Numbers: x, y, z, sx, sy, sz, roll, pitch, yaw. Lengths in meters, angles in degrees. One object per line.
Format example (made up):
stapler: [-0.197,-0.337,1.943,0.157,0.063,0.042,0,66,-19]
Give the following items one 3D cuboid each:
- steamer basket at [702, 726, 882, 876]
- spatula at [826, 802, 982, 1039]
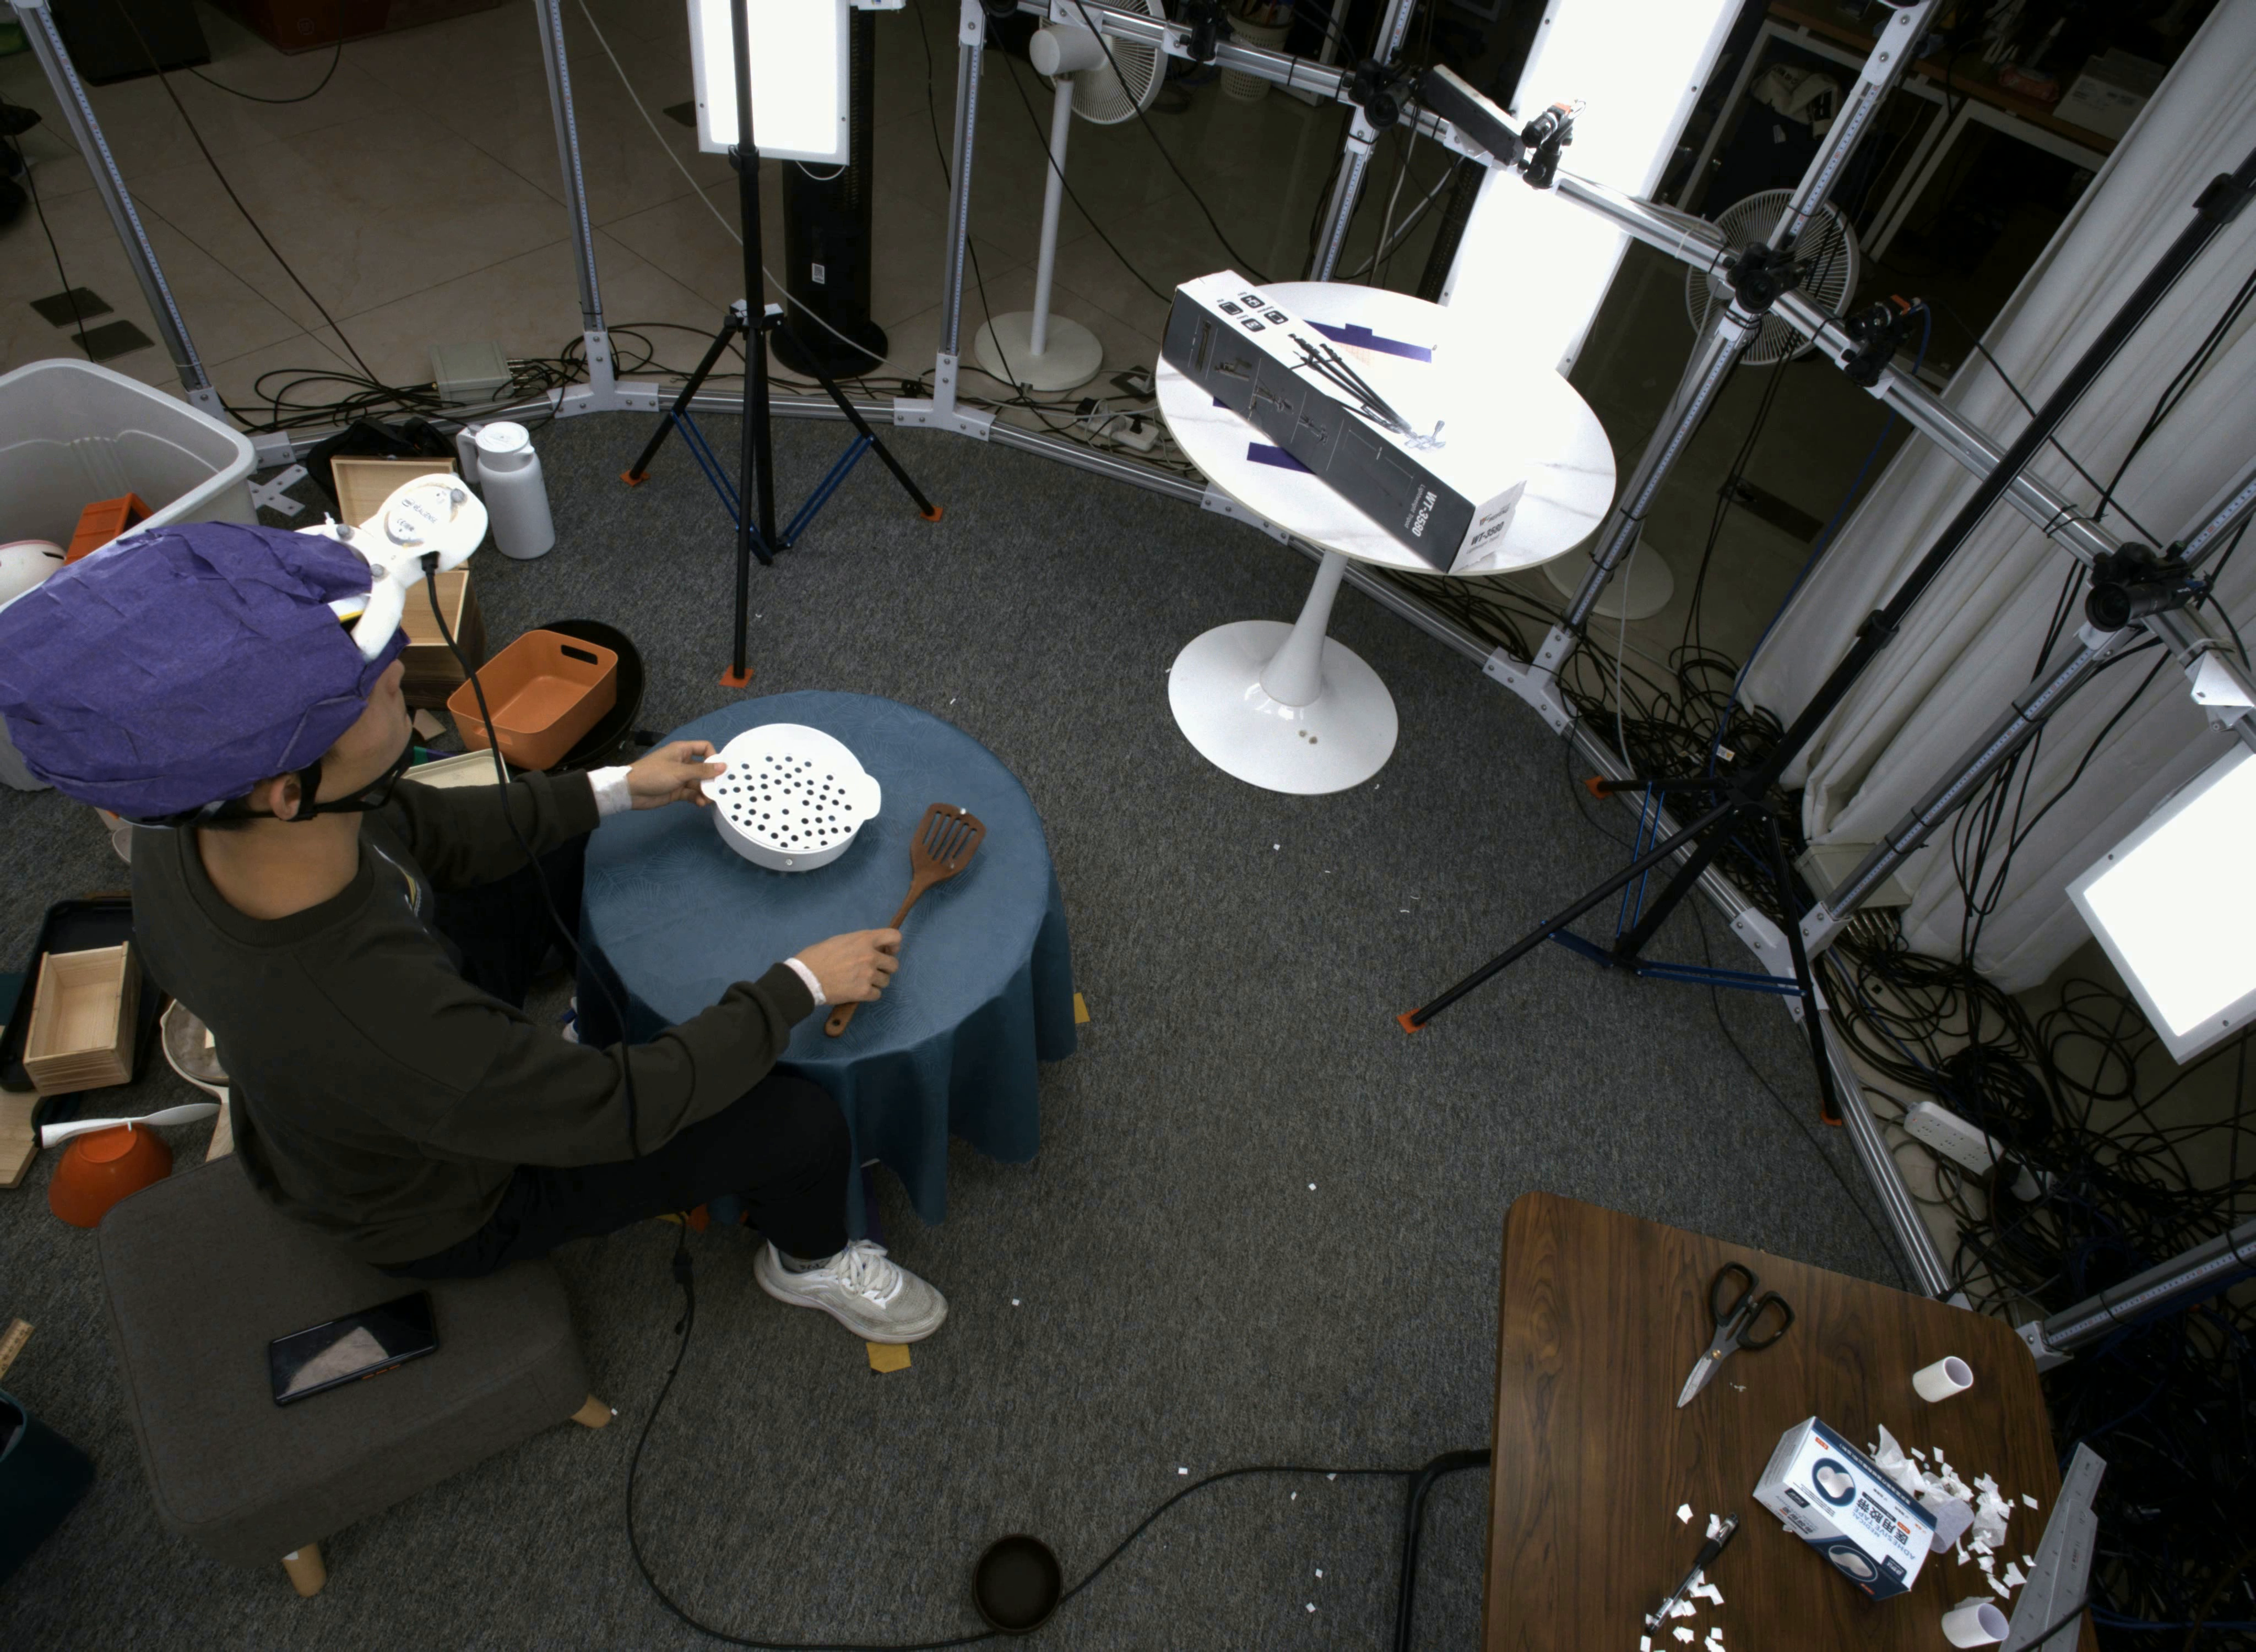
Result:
steamer basket: [-0.441,-0.034,1.701,0.232,0.070,0.198,5,55,-19]
spatula: [-0.287,0.113,1.633,0.085,0.024,0.381,26,47,-4]
